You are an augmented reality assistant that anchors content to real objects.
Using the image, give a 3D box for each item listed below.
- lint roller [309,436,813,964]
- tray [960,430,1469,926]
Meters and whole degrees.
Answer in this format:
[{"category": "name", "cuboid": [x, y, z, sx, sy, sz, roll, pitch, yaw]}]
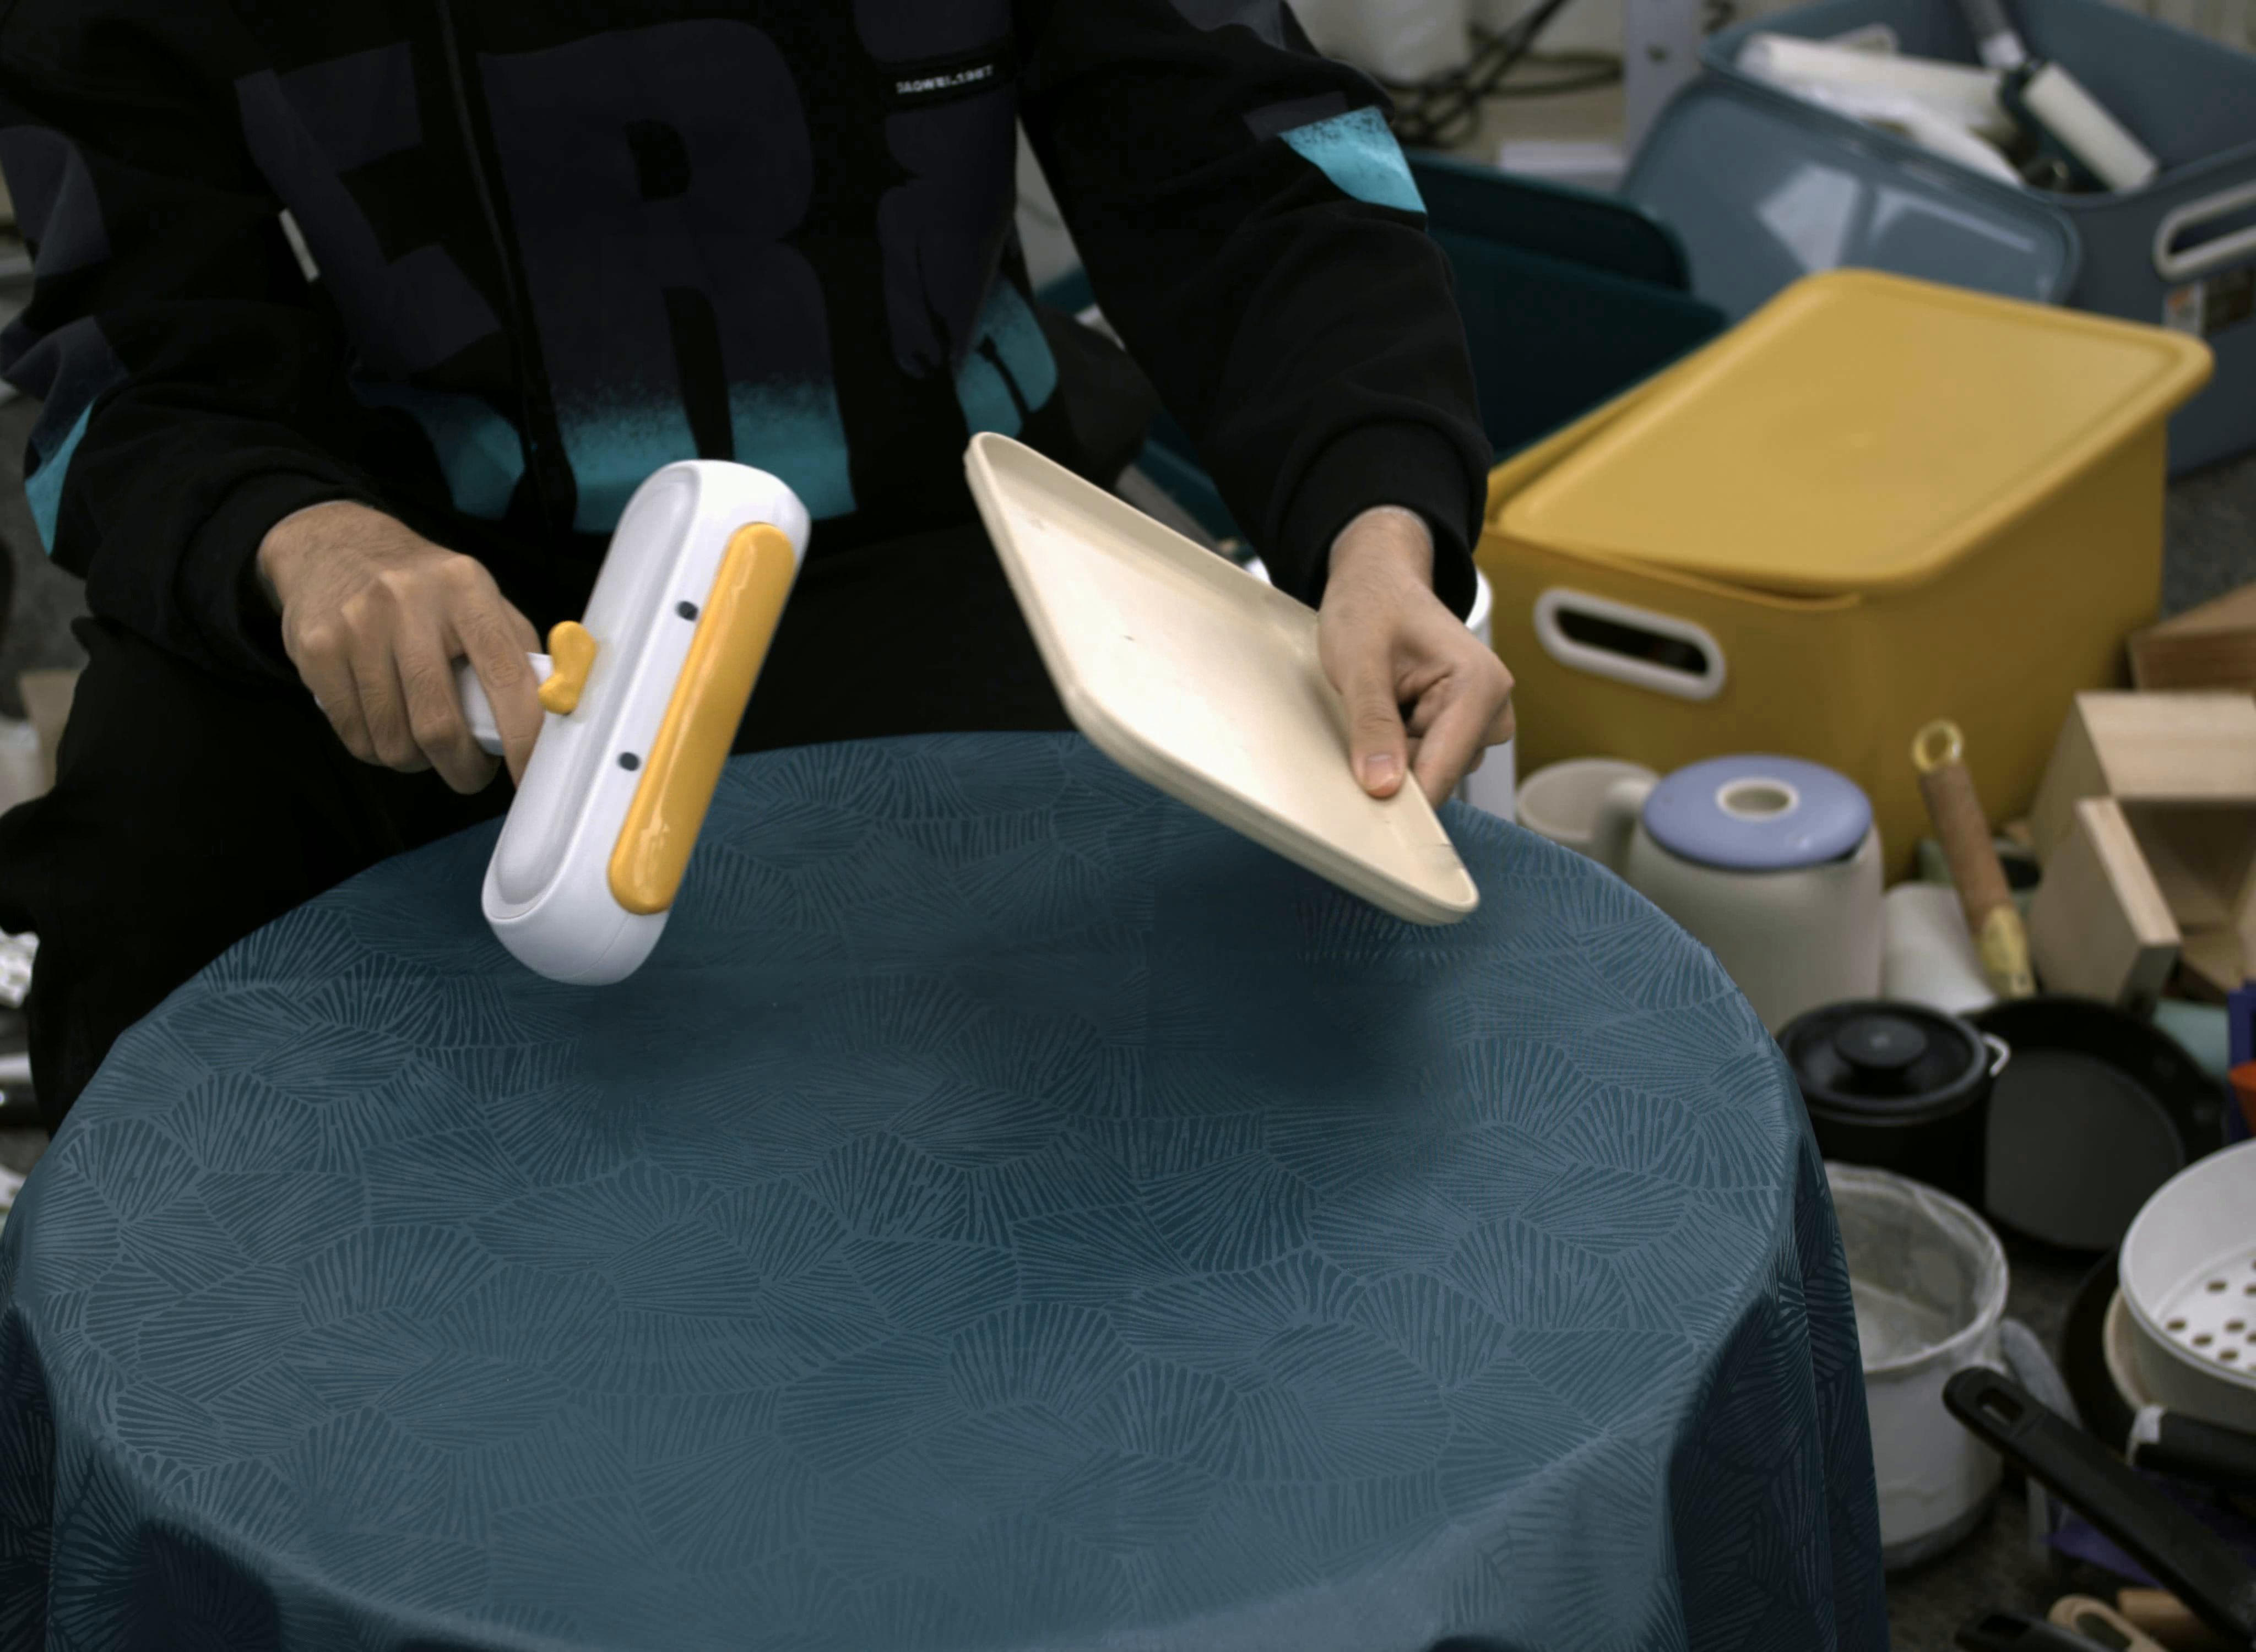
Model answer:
[{"category": "lint roller", "cuboid": [-0.209, -0.046, 1.982, 0.190, 0.195, 0.074, -3, -24, 44]}, {"category": "tray", "cuboid": [0.025, -0.051, 1.942, 0.170, 0.017, 0.242, 28, 18, -24]}]
